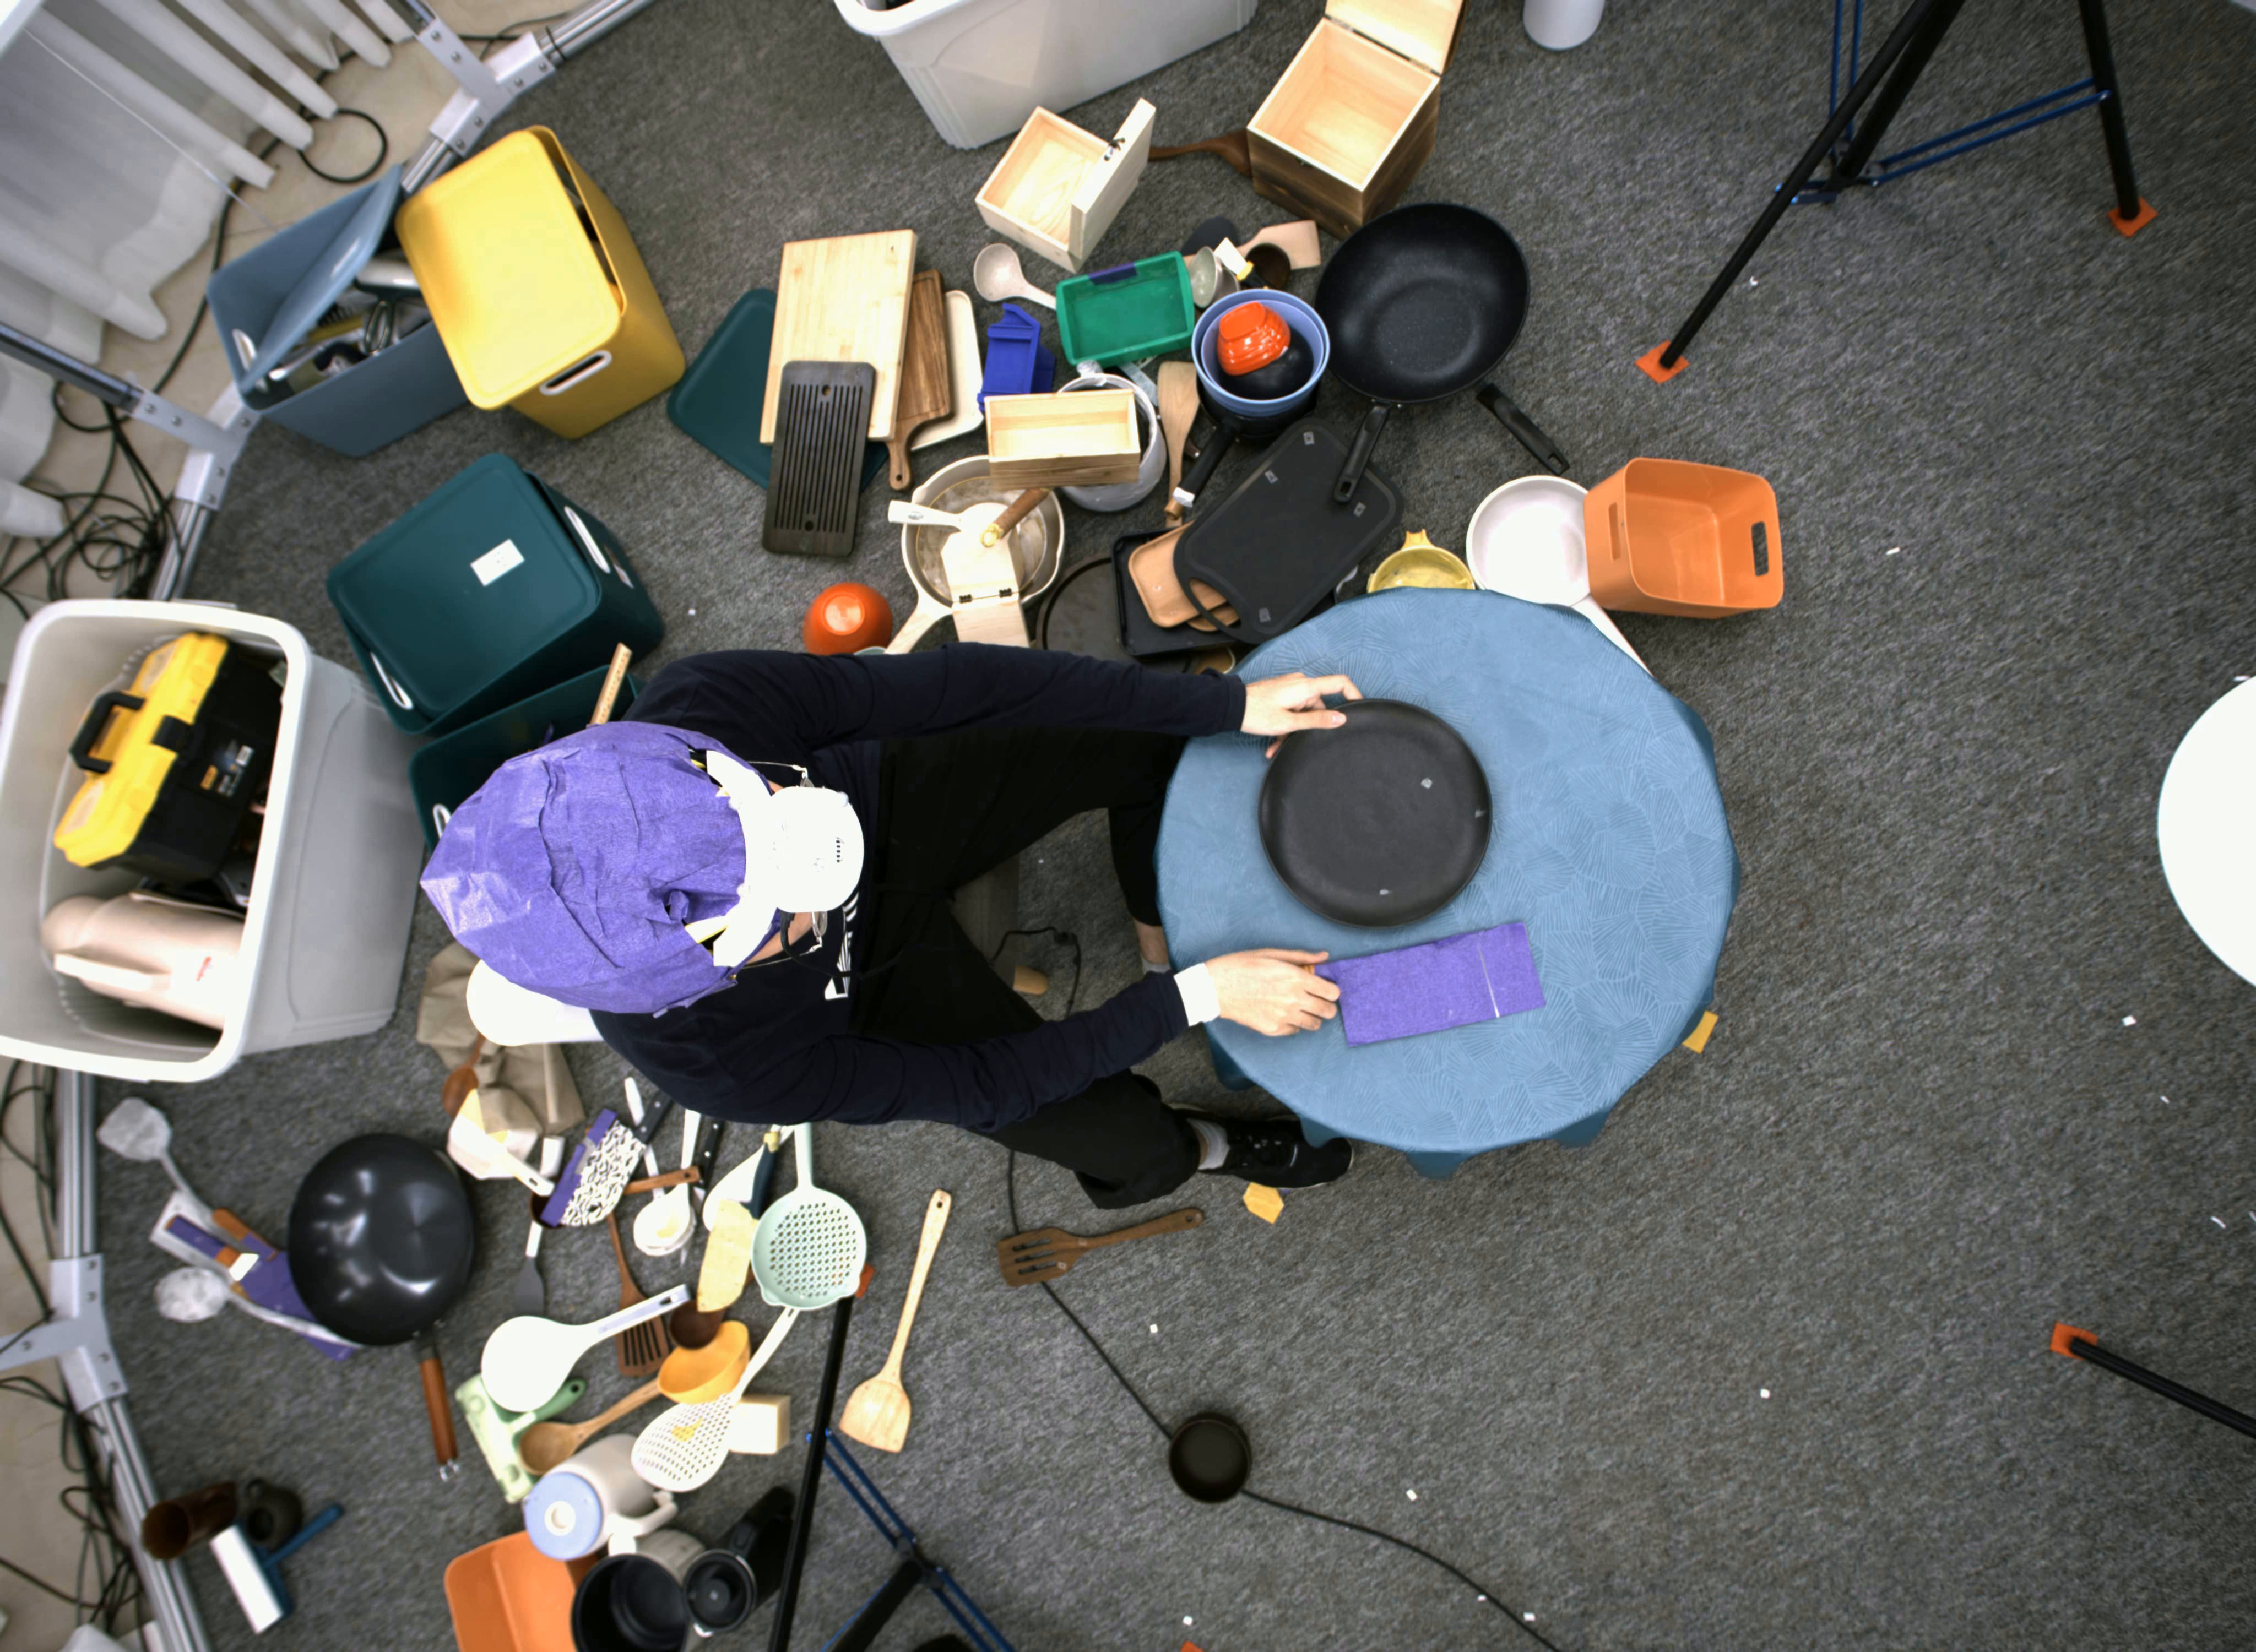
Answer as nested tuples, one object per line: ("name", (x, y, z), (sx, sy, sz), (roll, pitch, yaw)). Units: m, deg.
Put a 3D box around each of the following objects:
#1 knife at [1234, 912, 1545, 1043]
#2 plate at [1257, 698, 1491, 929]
("knife", (0.272, 0.172, 1.441), (0.317, 0.032, 0.103), (-14, 84, 9))
("plate", (0.258, -0.014, 1.452), (0.245, 0.023, 0.244), (0, 89, 9))
